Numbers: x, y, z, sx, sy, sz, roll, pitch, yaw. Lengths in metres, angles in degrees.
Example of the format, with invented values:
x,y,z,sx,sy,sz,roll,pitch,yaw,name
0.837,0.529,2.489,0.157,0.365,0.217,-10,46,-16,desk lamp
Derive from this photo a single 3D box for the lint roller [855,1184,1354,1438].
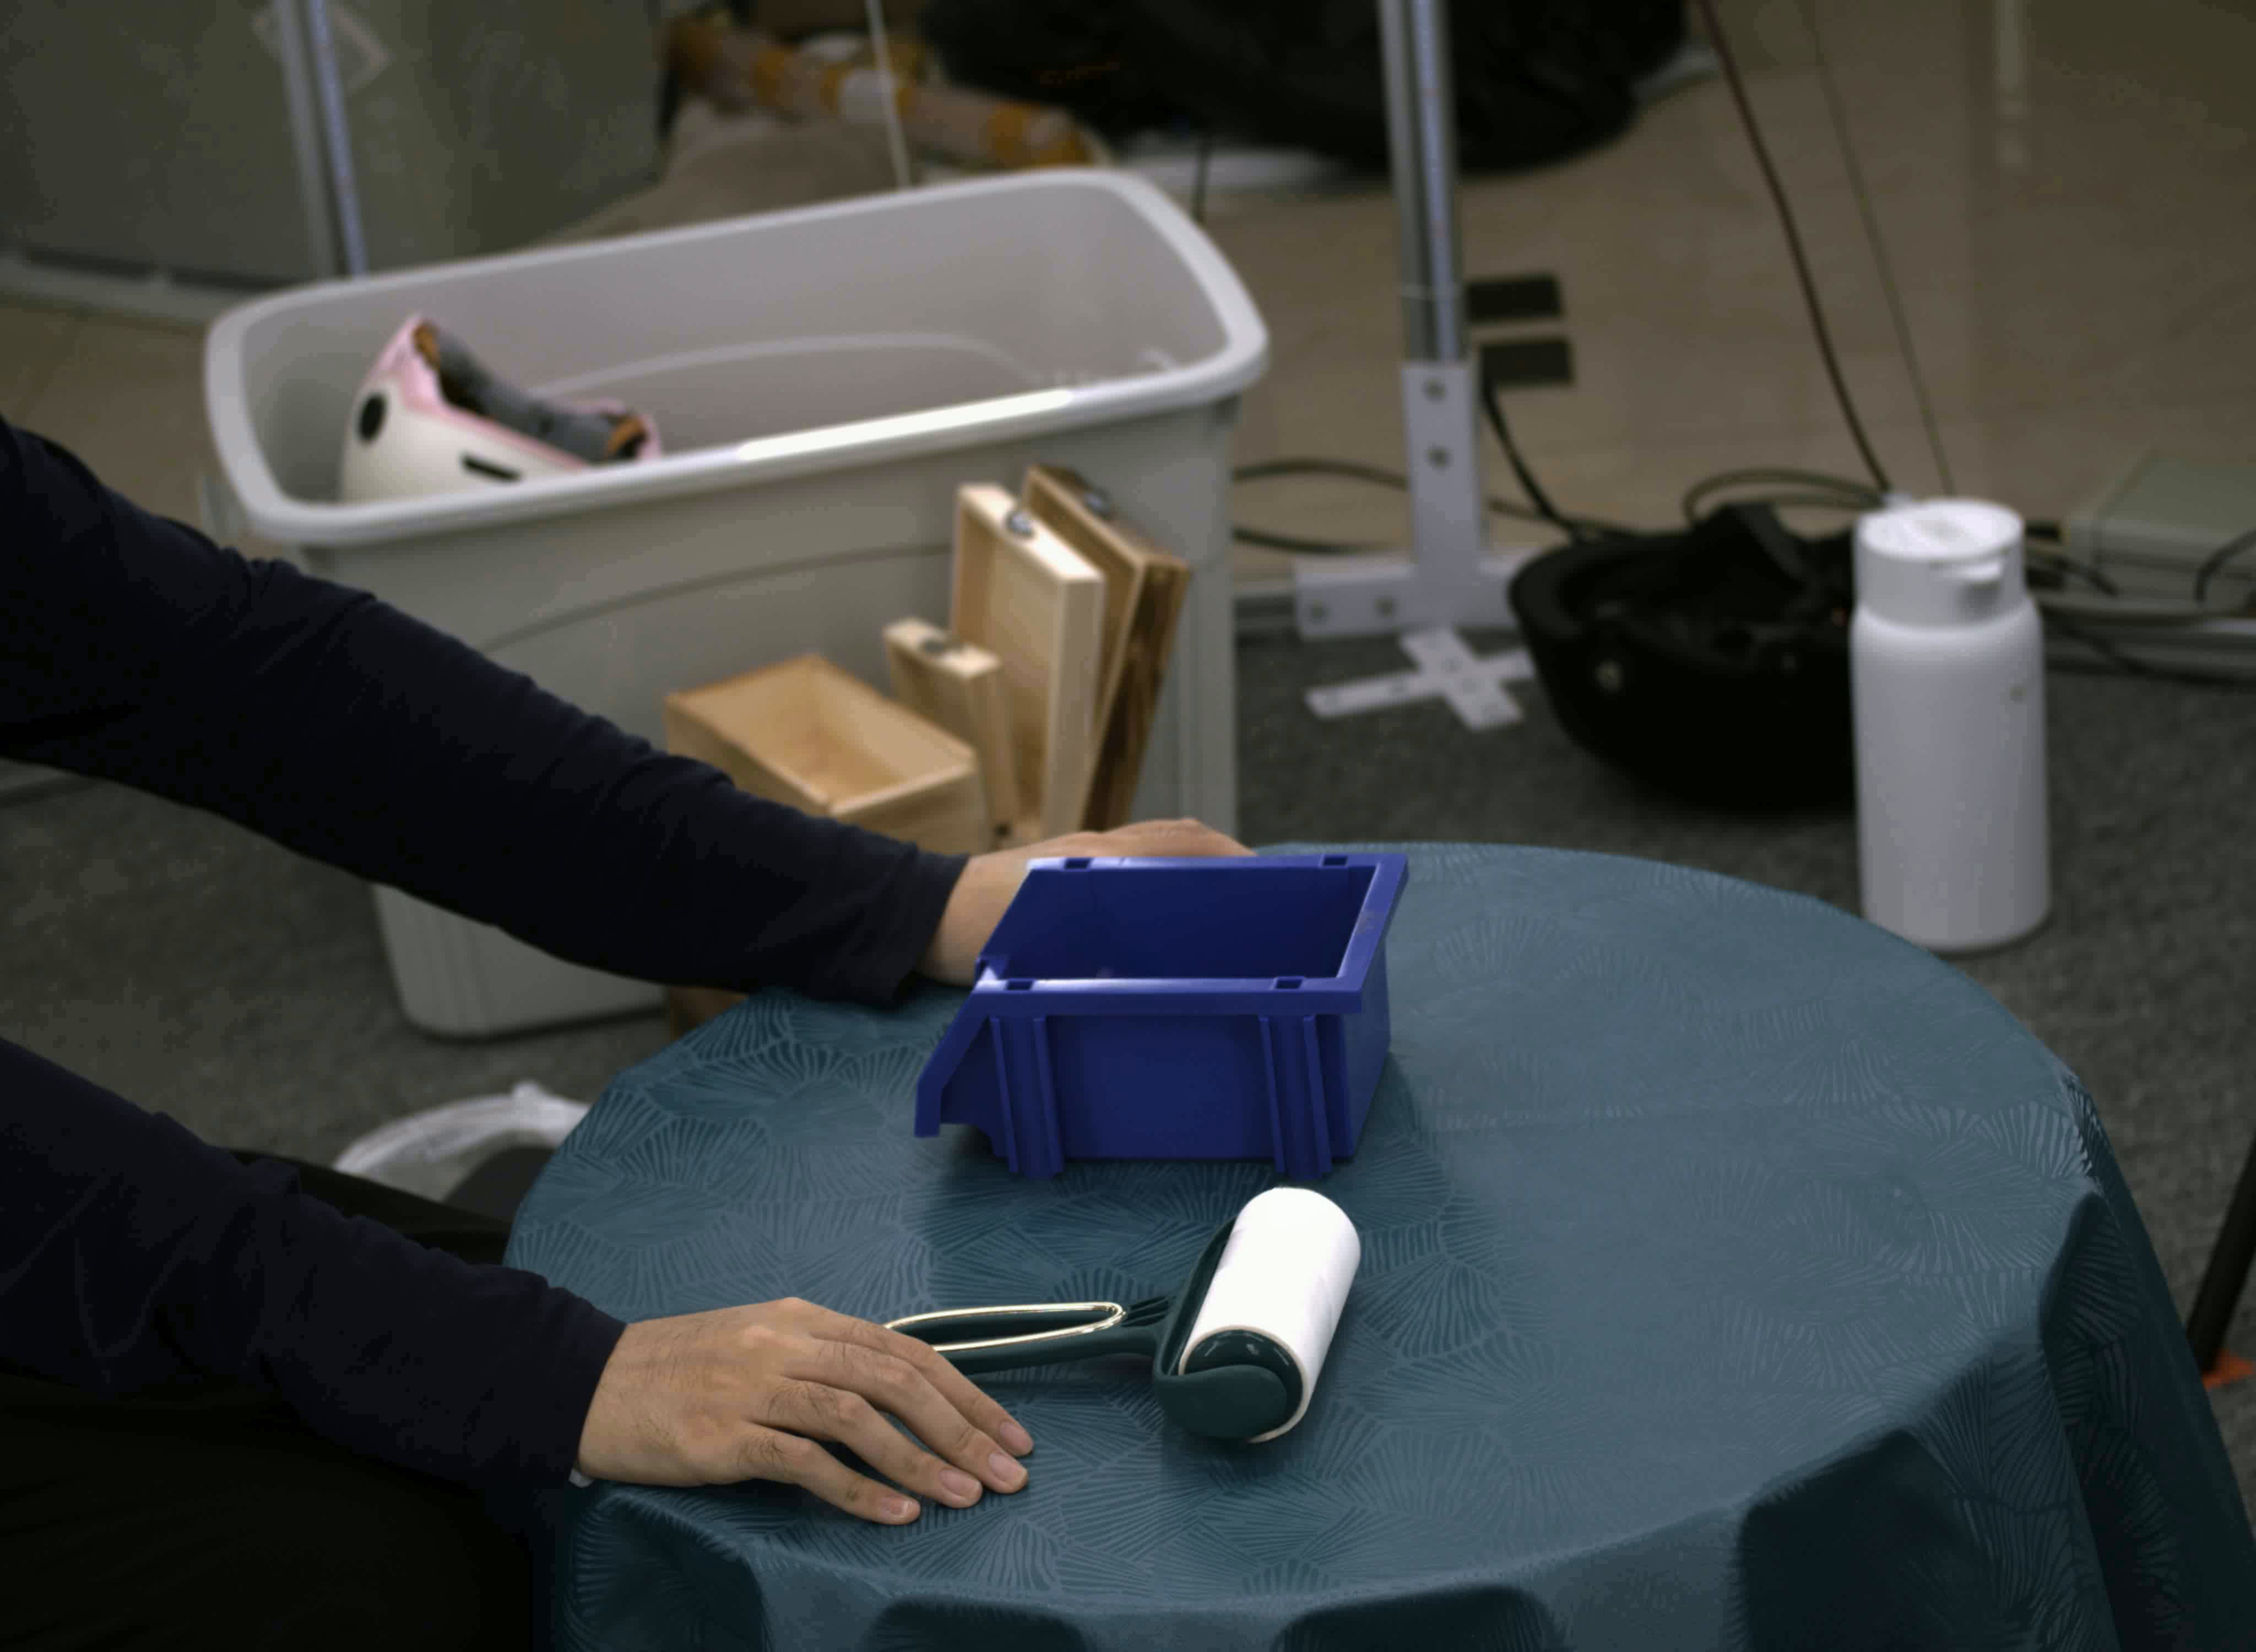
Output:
x,y,z,sx,sy,sz,roll,pitch,yaw,name
-0.015,0.176,2.026,0.180,0.049,0.132,-3,24,14,lint roller

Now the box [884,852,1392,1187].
x,y,z,sx,sy,sz,roll,pitch,yaw,name
0.004,0.074,2.194,0.179,0.083,0.122,3,27,13,box
